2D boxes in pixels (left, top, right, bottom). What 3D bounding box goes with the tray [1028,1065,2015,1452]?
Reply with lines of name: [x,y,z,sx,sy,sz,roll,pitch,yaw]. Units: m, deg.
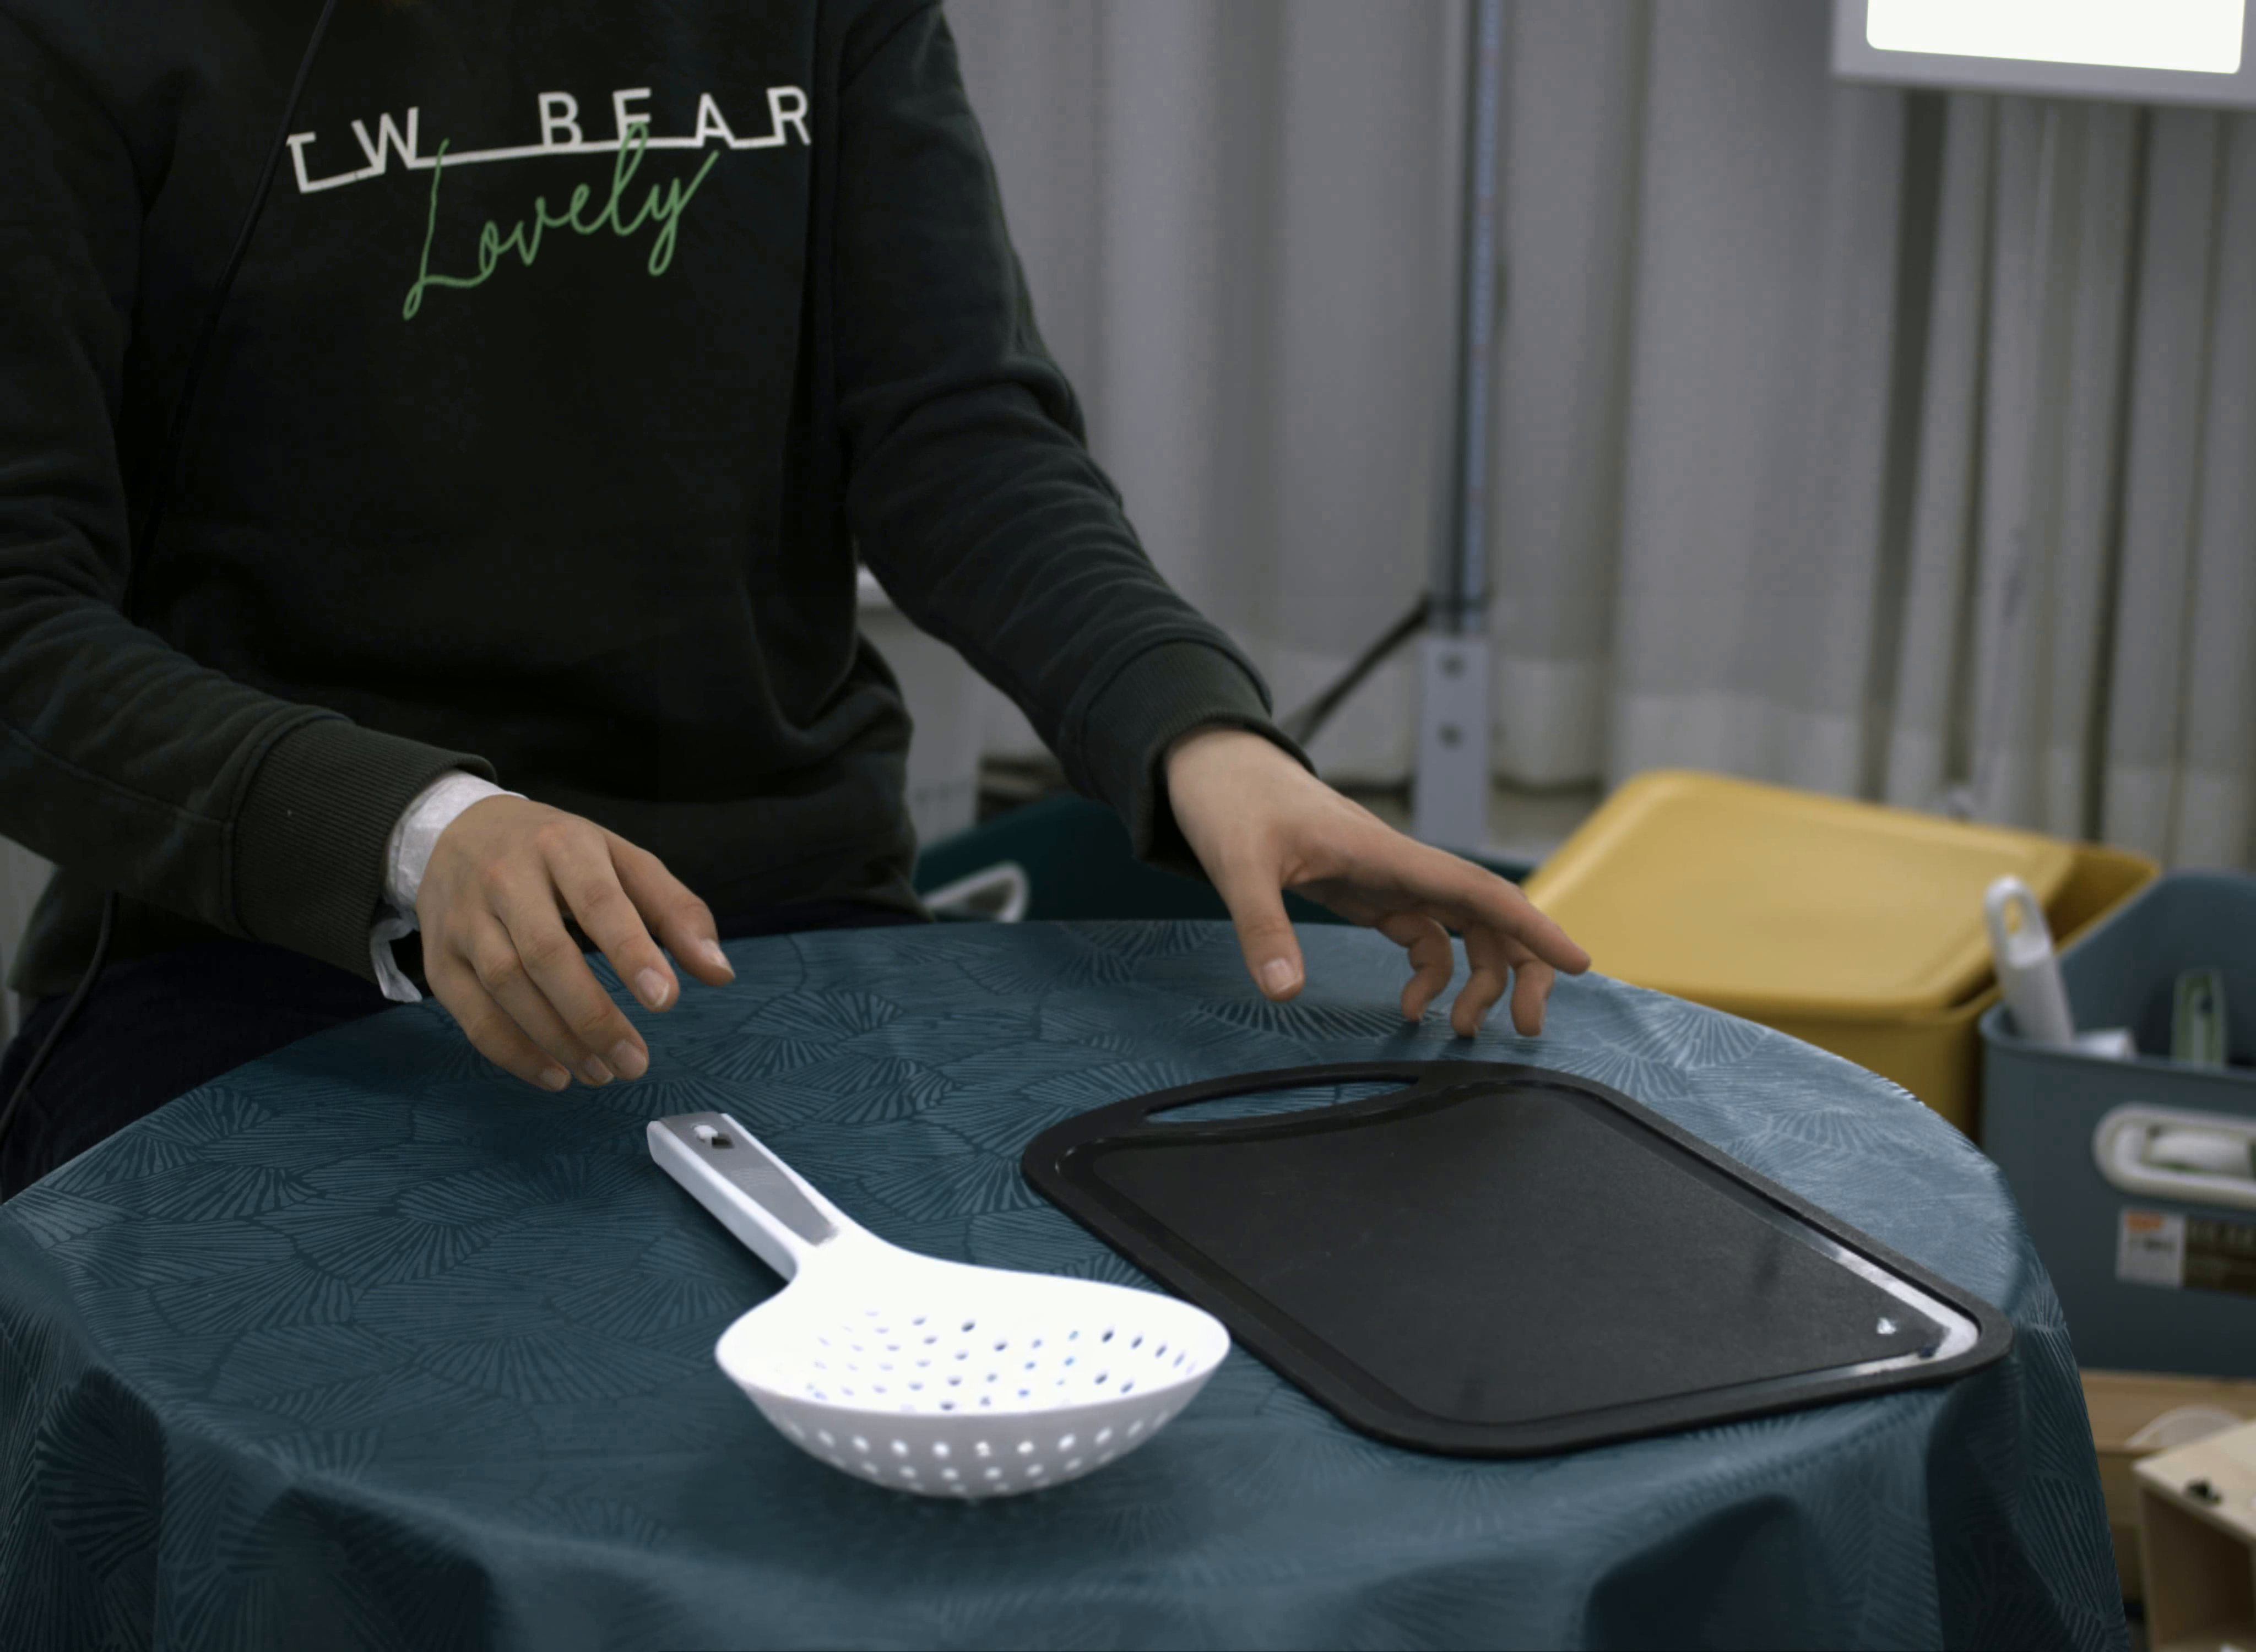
tray: [0.107,0.122,1.585,0.212,0.010,0.321,-6,17,-24]

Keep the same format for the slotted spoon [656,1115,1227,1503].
slotted spoon: [-0.078,0.127,1.490,0.136,0.046,0.346,-3,15,-20]
